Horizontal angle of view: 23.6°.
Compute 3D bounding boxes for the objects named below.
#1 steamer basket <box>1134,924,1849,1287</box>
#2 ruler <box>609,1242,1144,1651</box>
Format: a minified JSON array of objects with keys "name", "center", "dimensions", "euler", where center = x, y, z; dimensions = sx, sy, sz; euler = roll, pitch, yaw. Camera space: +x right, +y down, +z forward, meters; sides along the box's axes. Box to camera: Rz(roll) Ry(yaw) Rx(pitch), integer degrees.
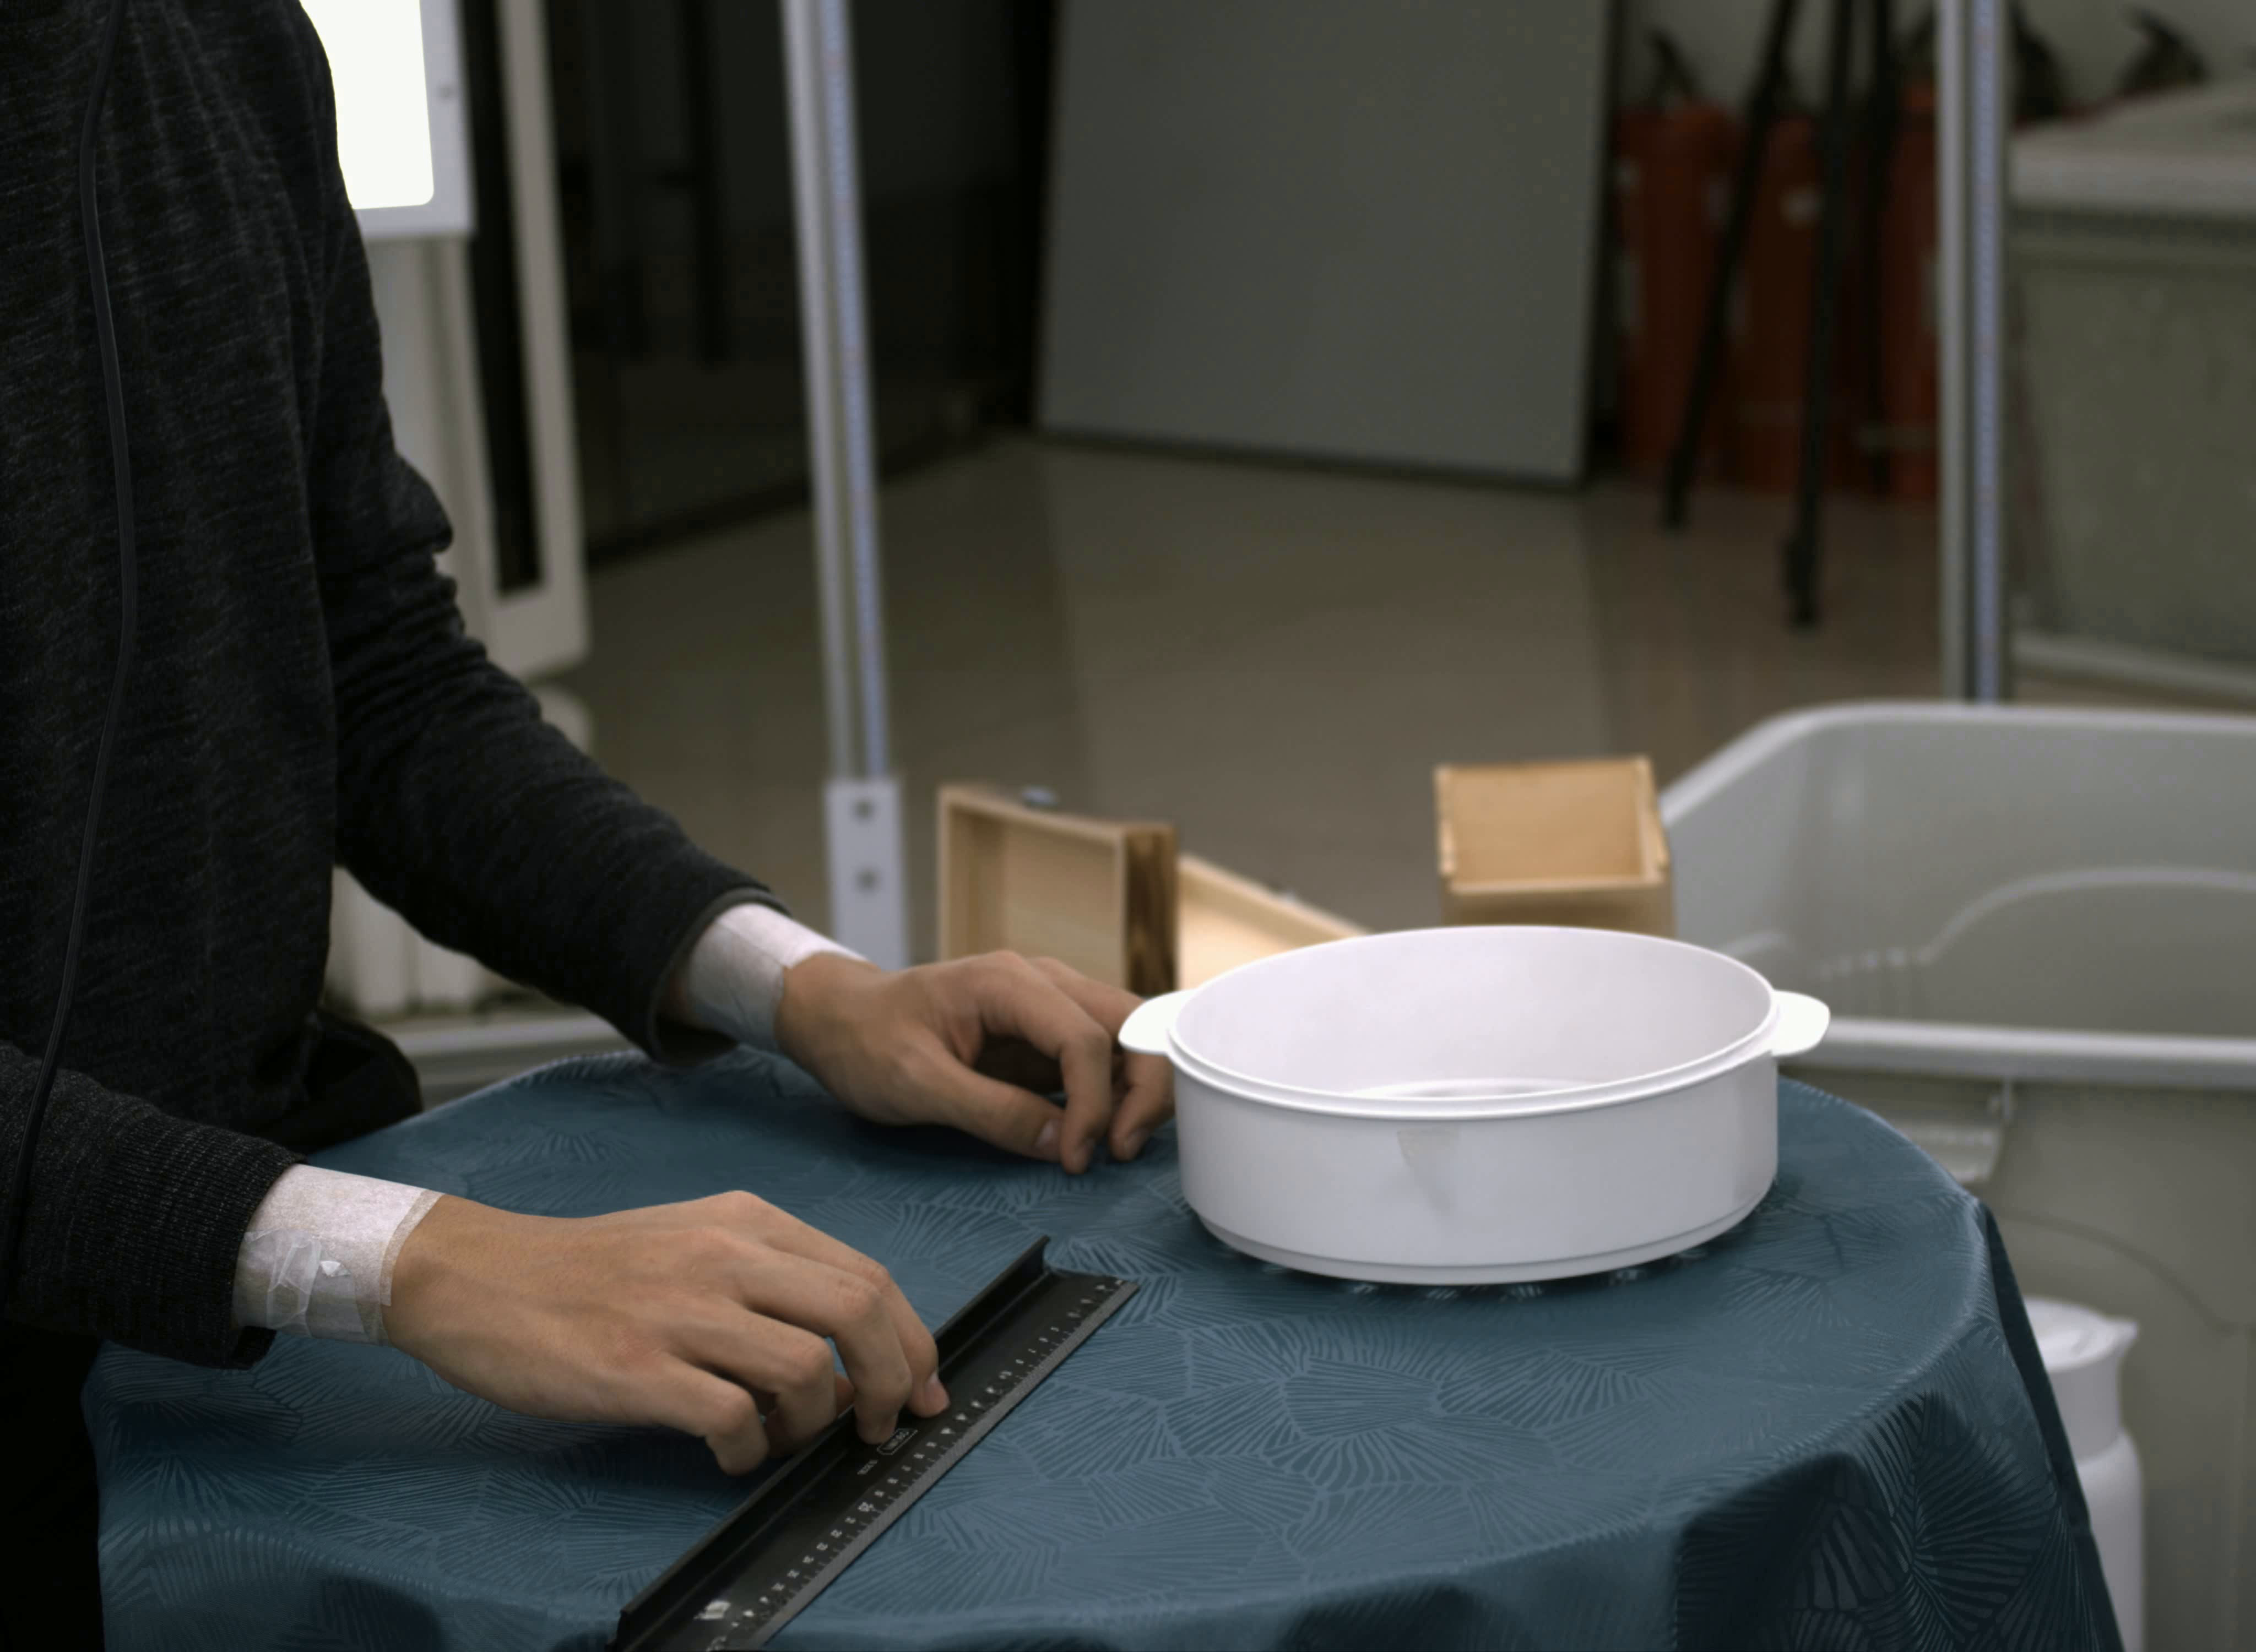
[{"name":"steamer basket","center":[0.116,0.088,1.723],"dimensions":[0.229,0.070,0.200],"euler":[1,14,13]},{"name":"ruler","center":[-0.065,0.174,1.540],"dimensions":[0.039,0.017,0.309],"euler":[4,16,20]}]
